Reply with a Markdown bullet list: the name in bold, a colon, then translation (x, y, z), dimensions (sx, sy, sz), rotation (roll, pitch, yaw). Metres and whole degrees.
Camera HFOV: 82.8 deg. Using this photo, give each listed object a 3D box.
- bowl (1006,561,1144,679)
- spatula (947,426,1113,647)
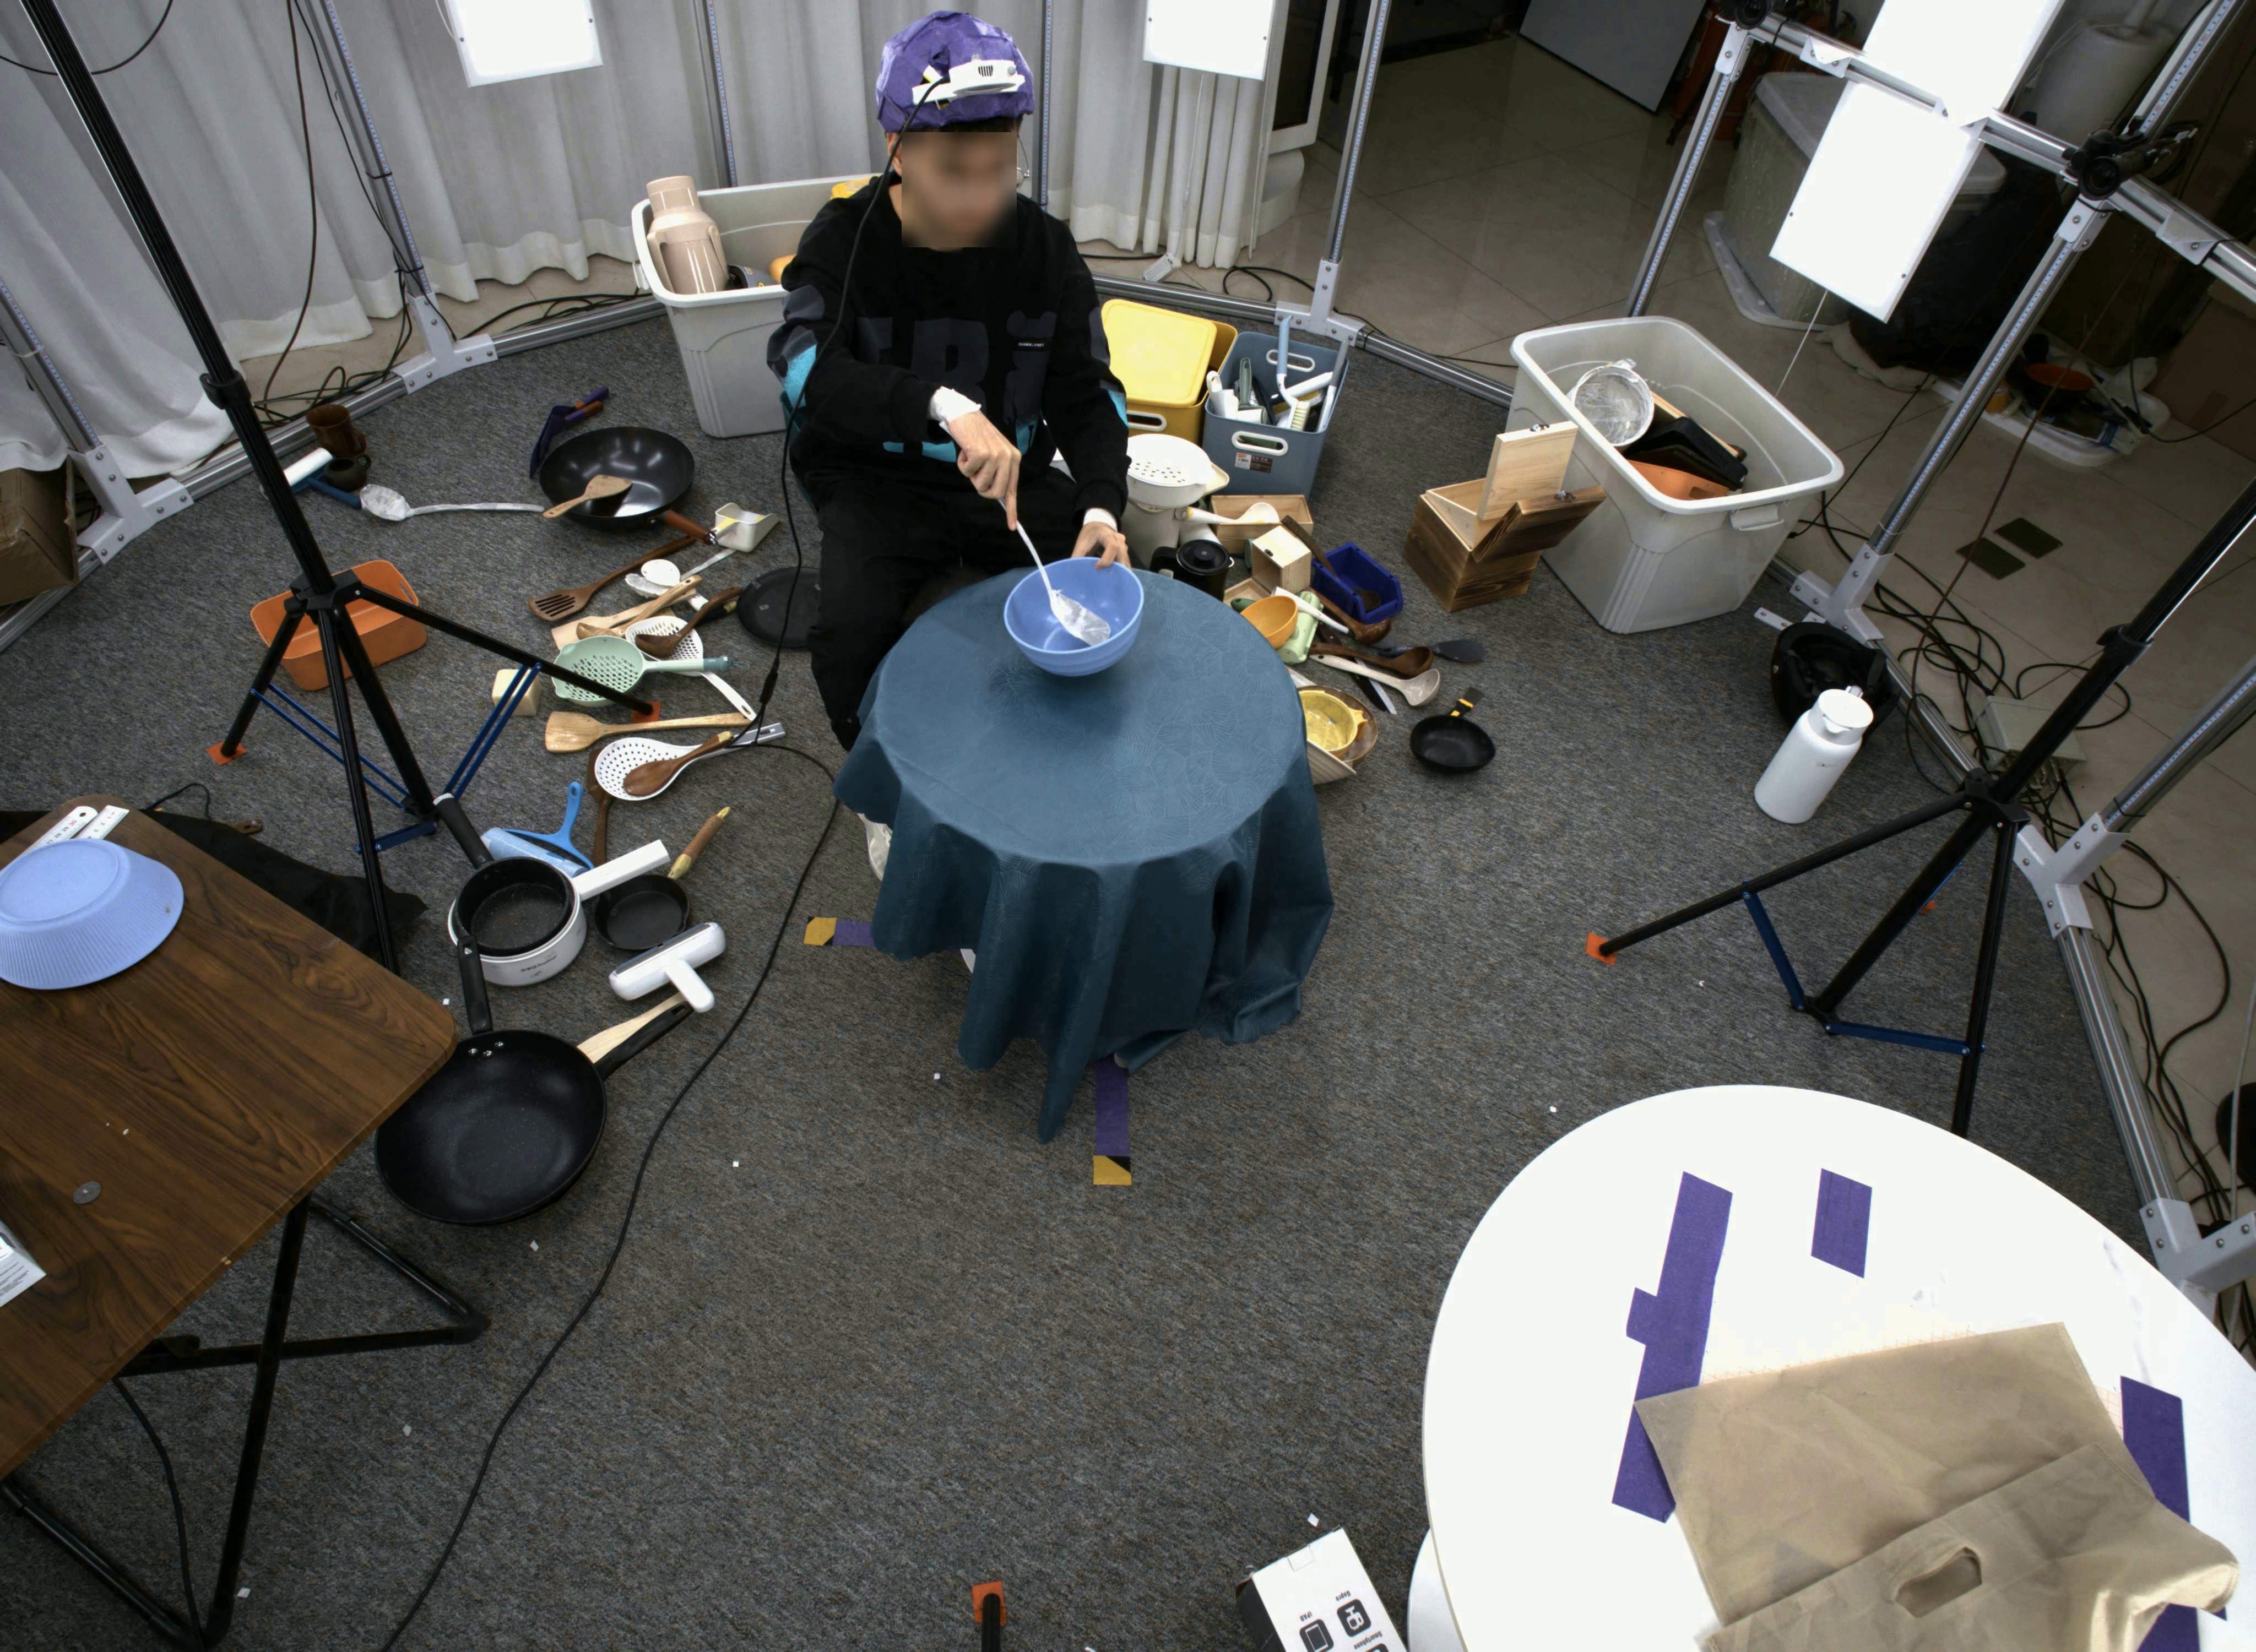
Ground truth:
- **bowl**: translation (-0.067, -0.278, 1.830), dimensions (0.196, 0.093, 0.201), rotation (-7, 49, 8)
- **spatula**: translation (-0.131, -0.387, 1.756), dimensions (0.044, 0.359, 0.100), rotation (-23, 22, 22)
